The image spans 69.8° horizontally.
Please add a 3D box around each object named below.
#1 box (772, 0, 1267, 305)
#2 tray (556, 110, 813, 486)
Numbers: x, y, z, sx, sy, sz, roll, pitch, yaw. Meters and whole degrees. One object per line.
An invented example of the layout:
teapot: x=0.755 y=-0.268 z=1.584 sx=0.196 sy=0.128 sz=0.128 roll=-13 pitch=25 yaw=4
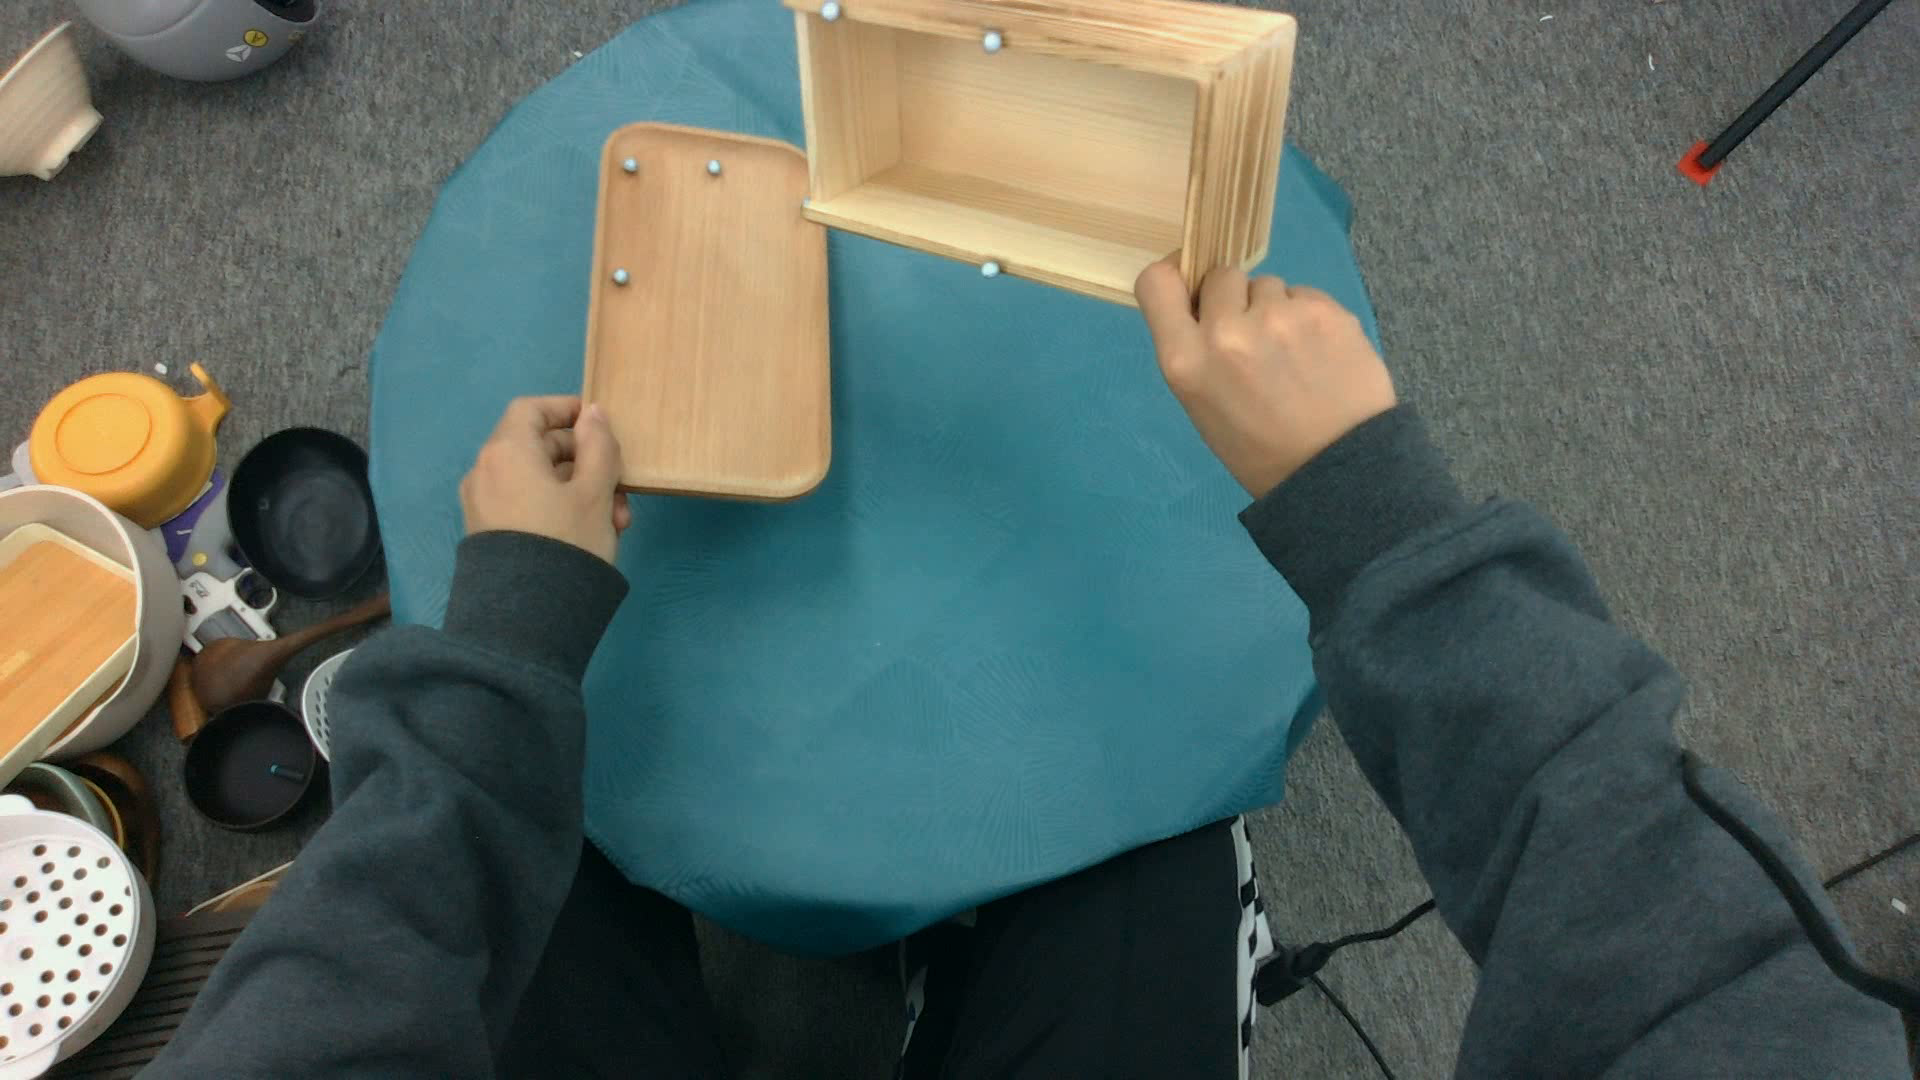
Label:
box: x=0.020 y=-0.193 z=0.621 sx=0.211 sy=0.107 sz=0.080 roll=20 pitch=42 yaw=27
tray: x=-0.147 y=-0.137 z=0.751 sx=0.131 sy=0.023 sz=0.251 roll=3 pitch=60 yaw=-12
